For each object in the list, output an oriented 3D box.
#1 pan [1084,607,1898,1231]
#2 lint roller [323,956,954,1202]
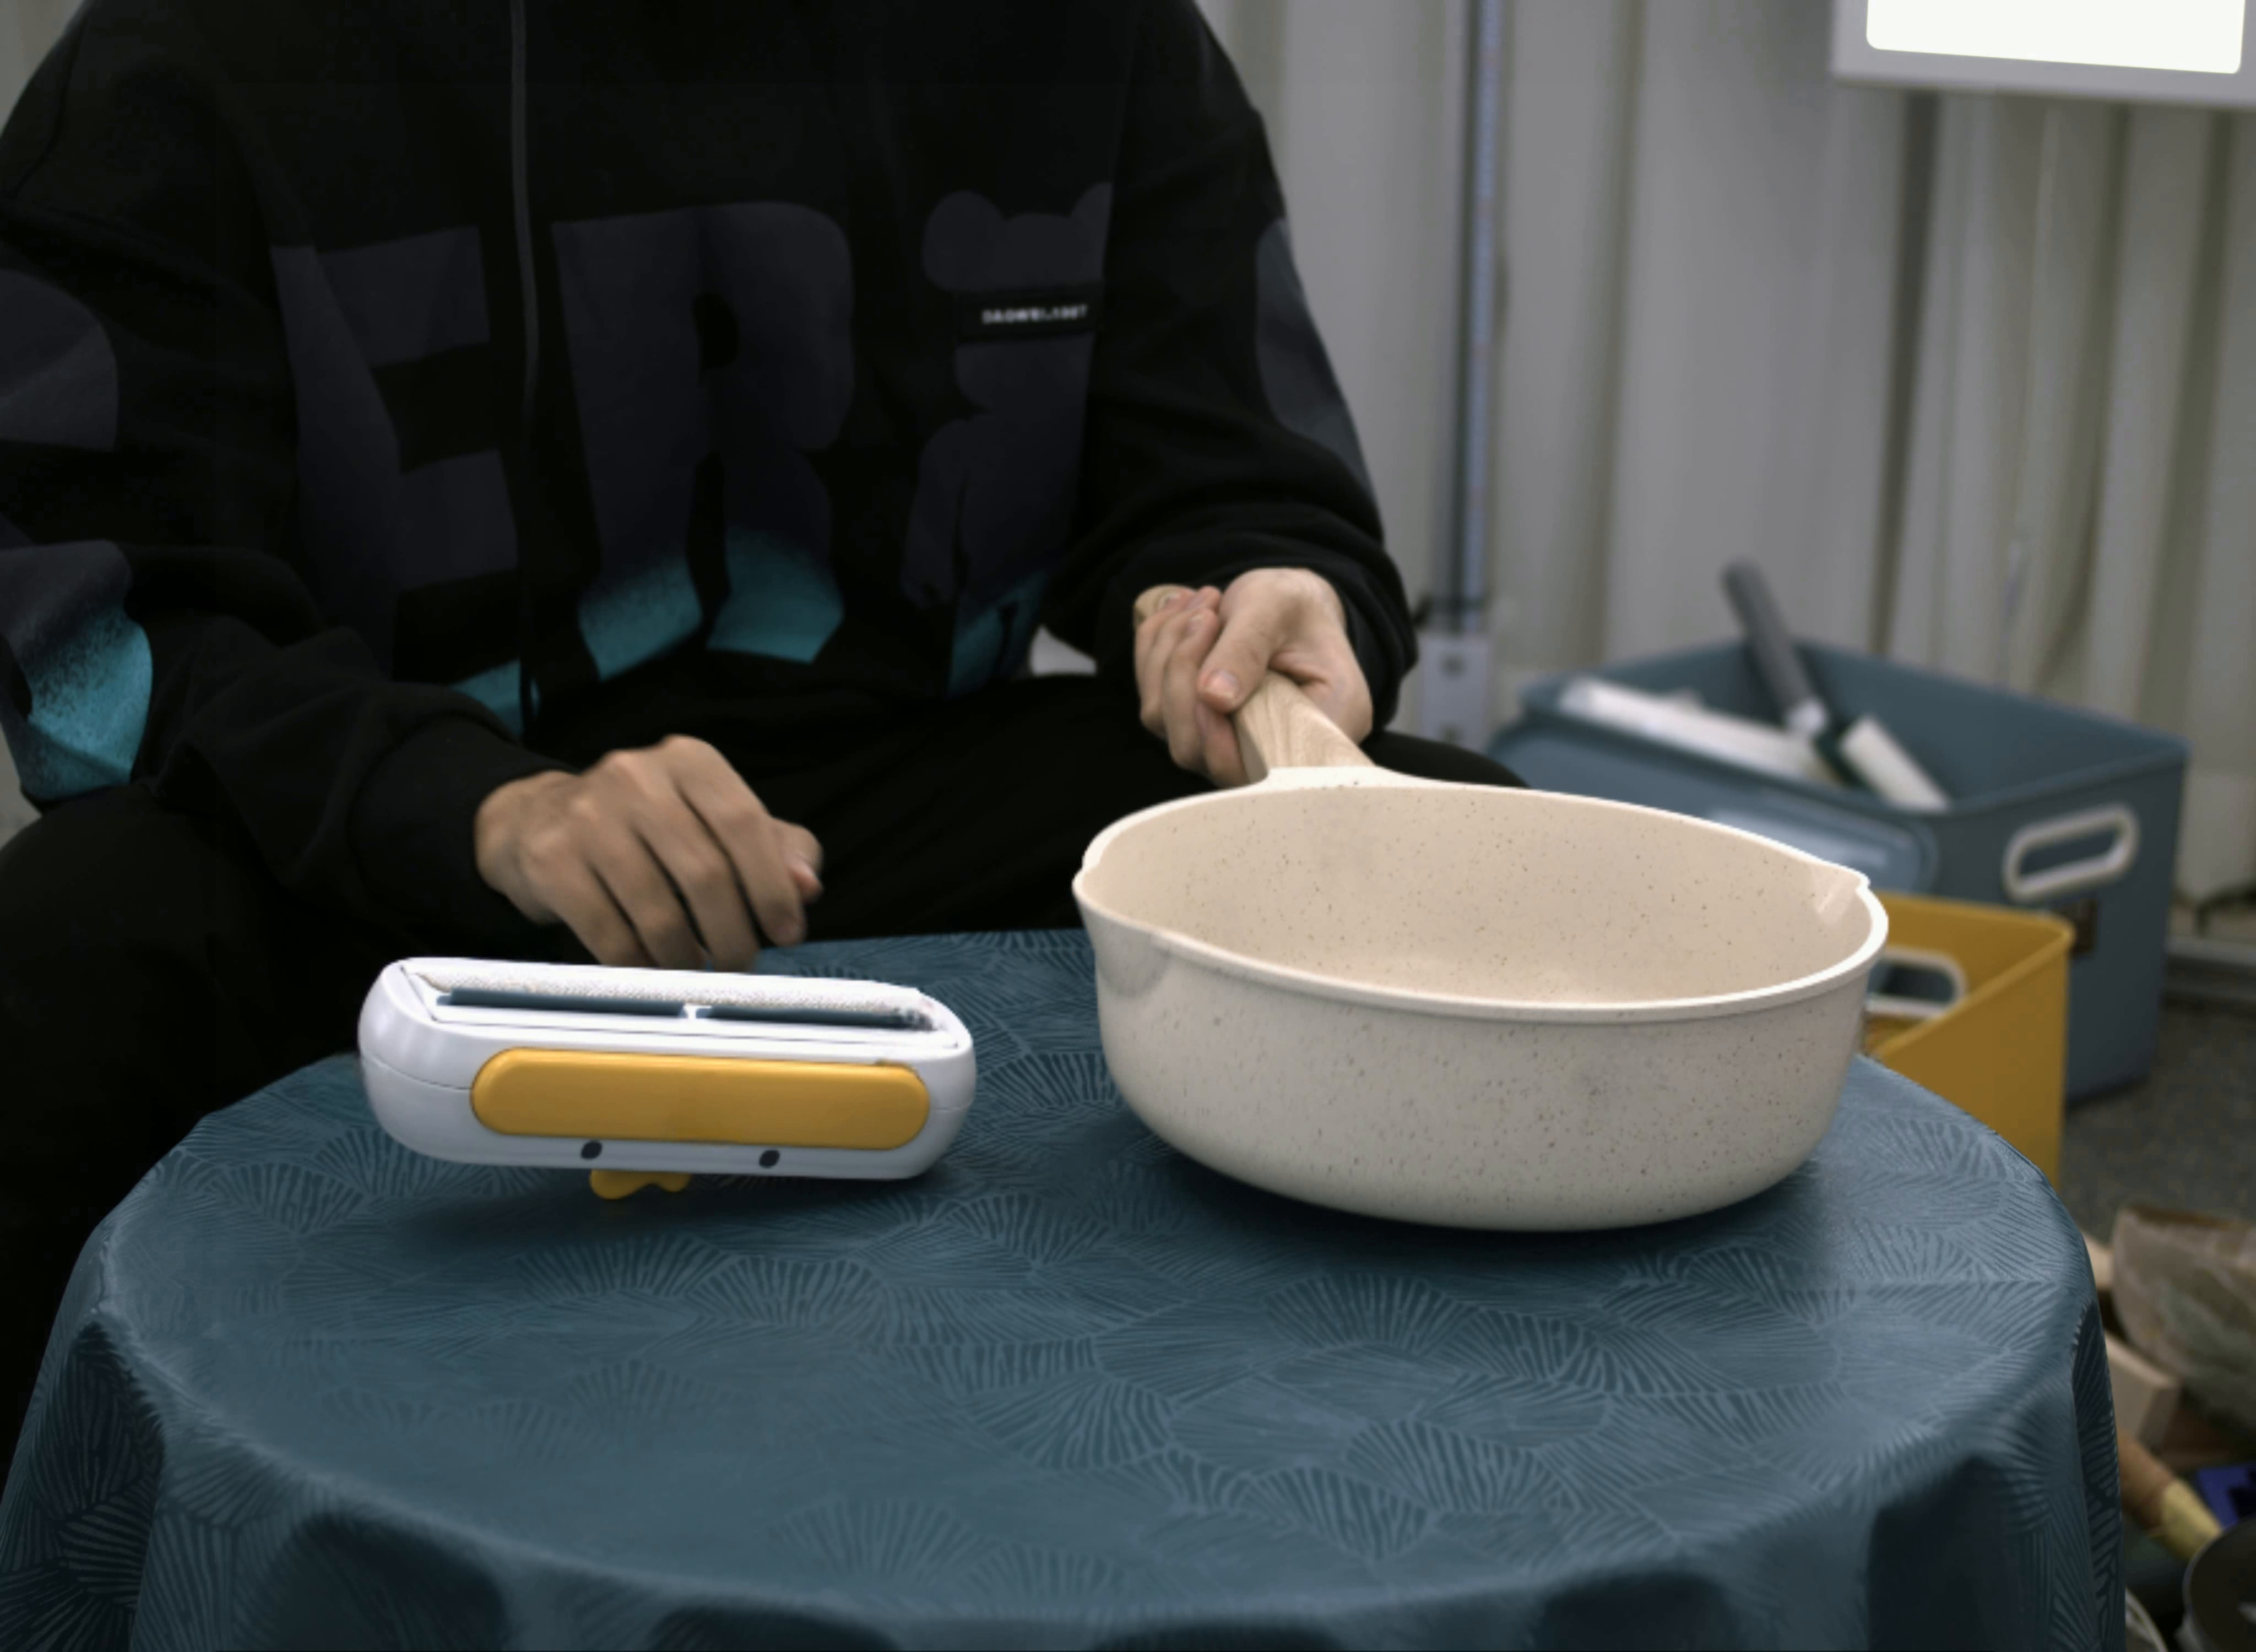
[{"bbox_3d":[0.082,0.026,1.727,0.264,0.103,0.430,-4,17,-19],"label":"pan"},{"bbox_3d":[-0.167,0.068,1.650,0.193,0.074,0.190,0,13,-21],"label":"lint roller"}]
